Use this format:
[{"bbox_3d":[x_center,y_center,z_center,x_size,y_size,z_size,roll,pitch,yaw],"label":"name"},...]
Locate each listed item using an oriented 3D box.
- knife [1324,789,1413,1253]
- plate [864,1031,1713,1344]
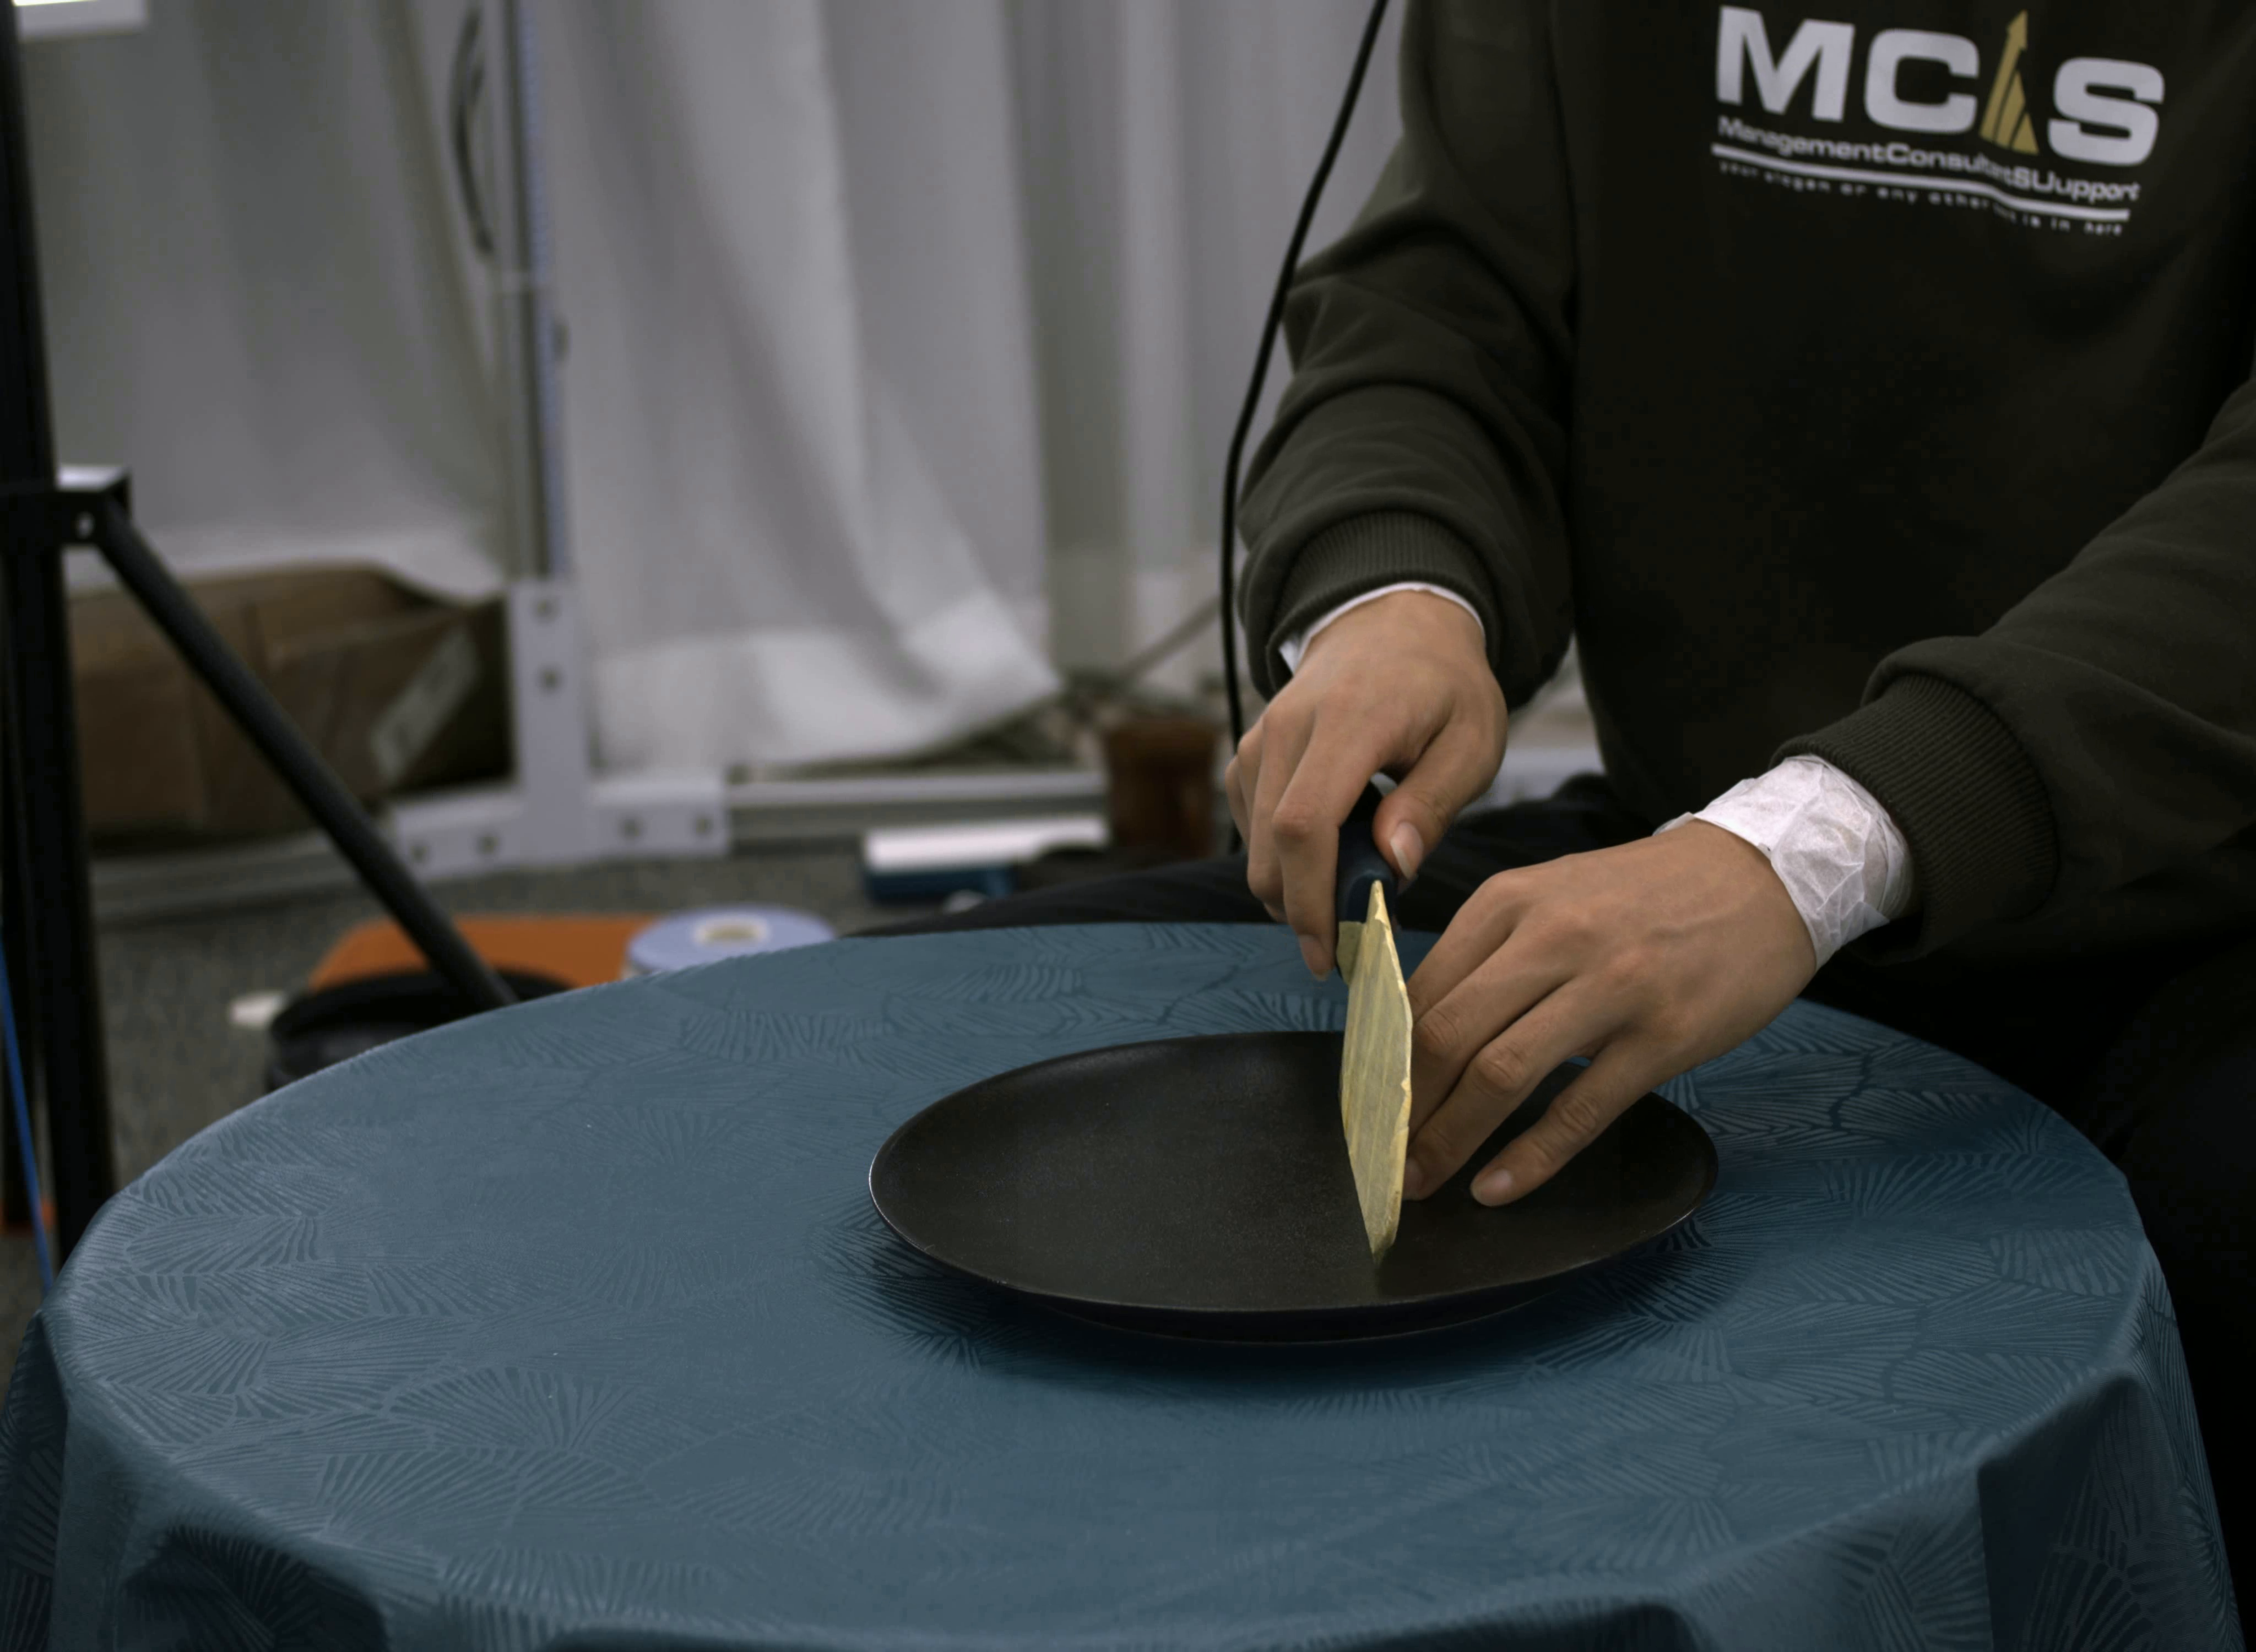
[{"bbox_3d":[0.071,0.052,1.570,0.027,0.081,0.291,10,20,-3],"label":"knife"},{"bbox_3d":[0.046,0.106,1.520,0.243,0.023,0.245,-2,16,-1],"label":"plate"}]
